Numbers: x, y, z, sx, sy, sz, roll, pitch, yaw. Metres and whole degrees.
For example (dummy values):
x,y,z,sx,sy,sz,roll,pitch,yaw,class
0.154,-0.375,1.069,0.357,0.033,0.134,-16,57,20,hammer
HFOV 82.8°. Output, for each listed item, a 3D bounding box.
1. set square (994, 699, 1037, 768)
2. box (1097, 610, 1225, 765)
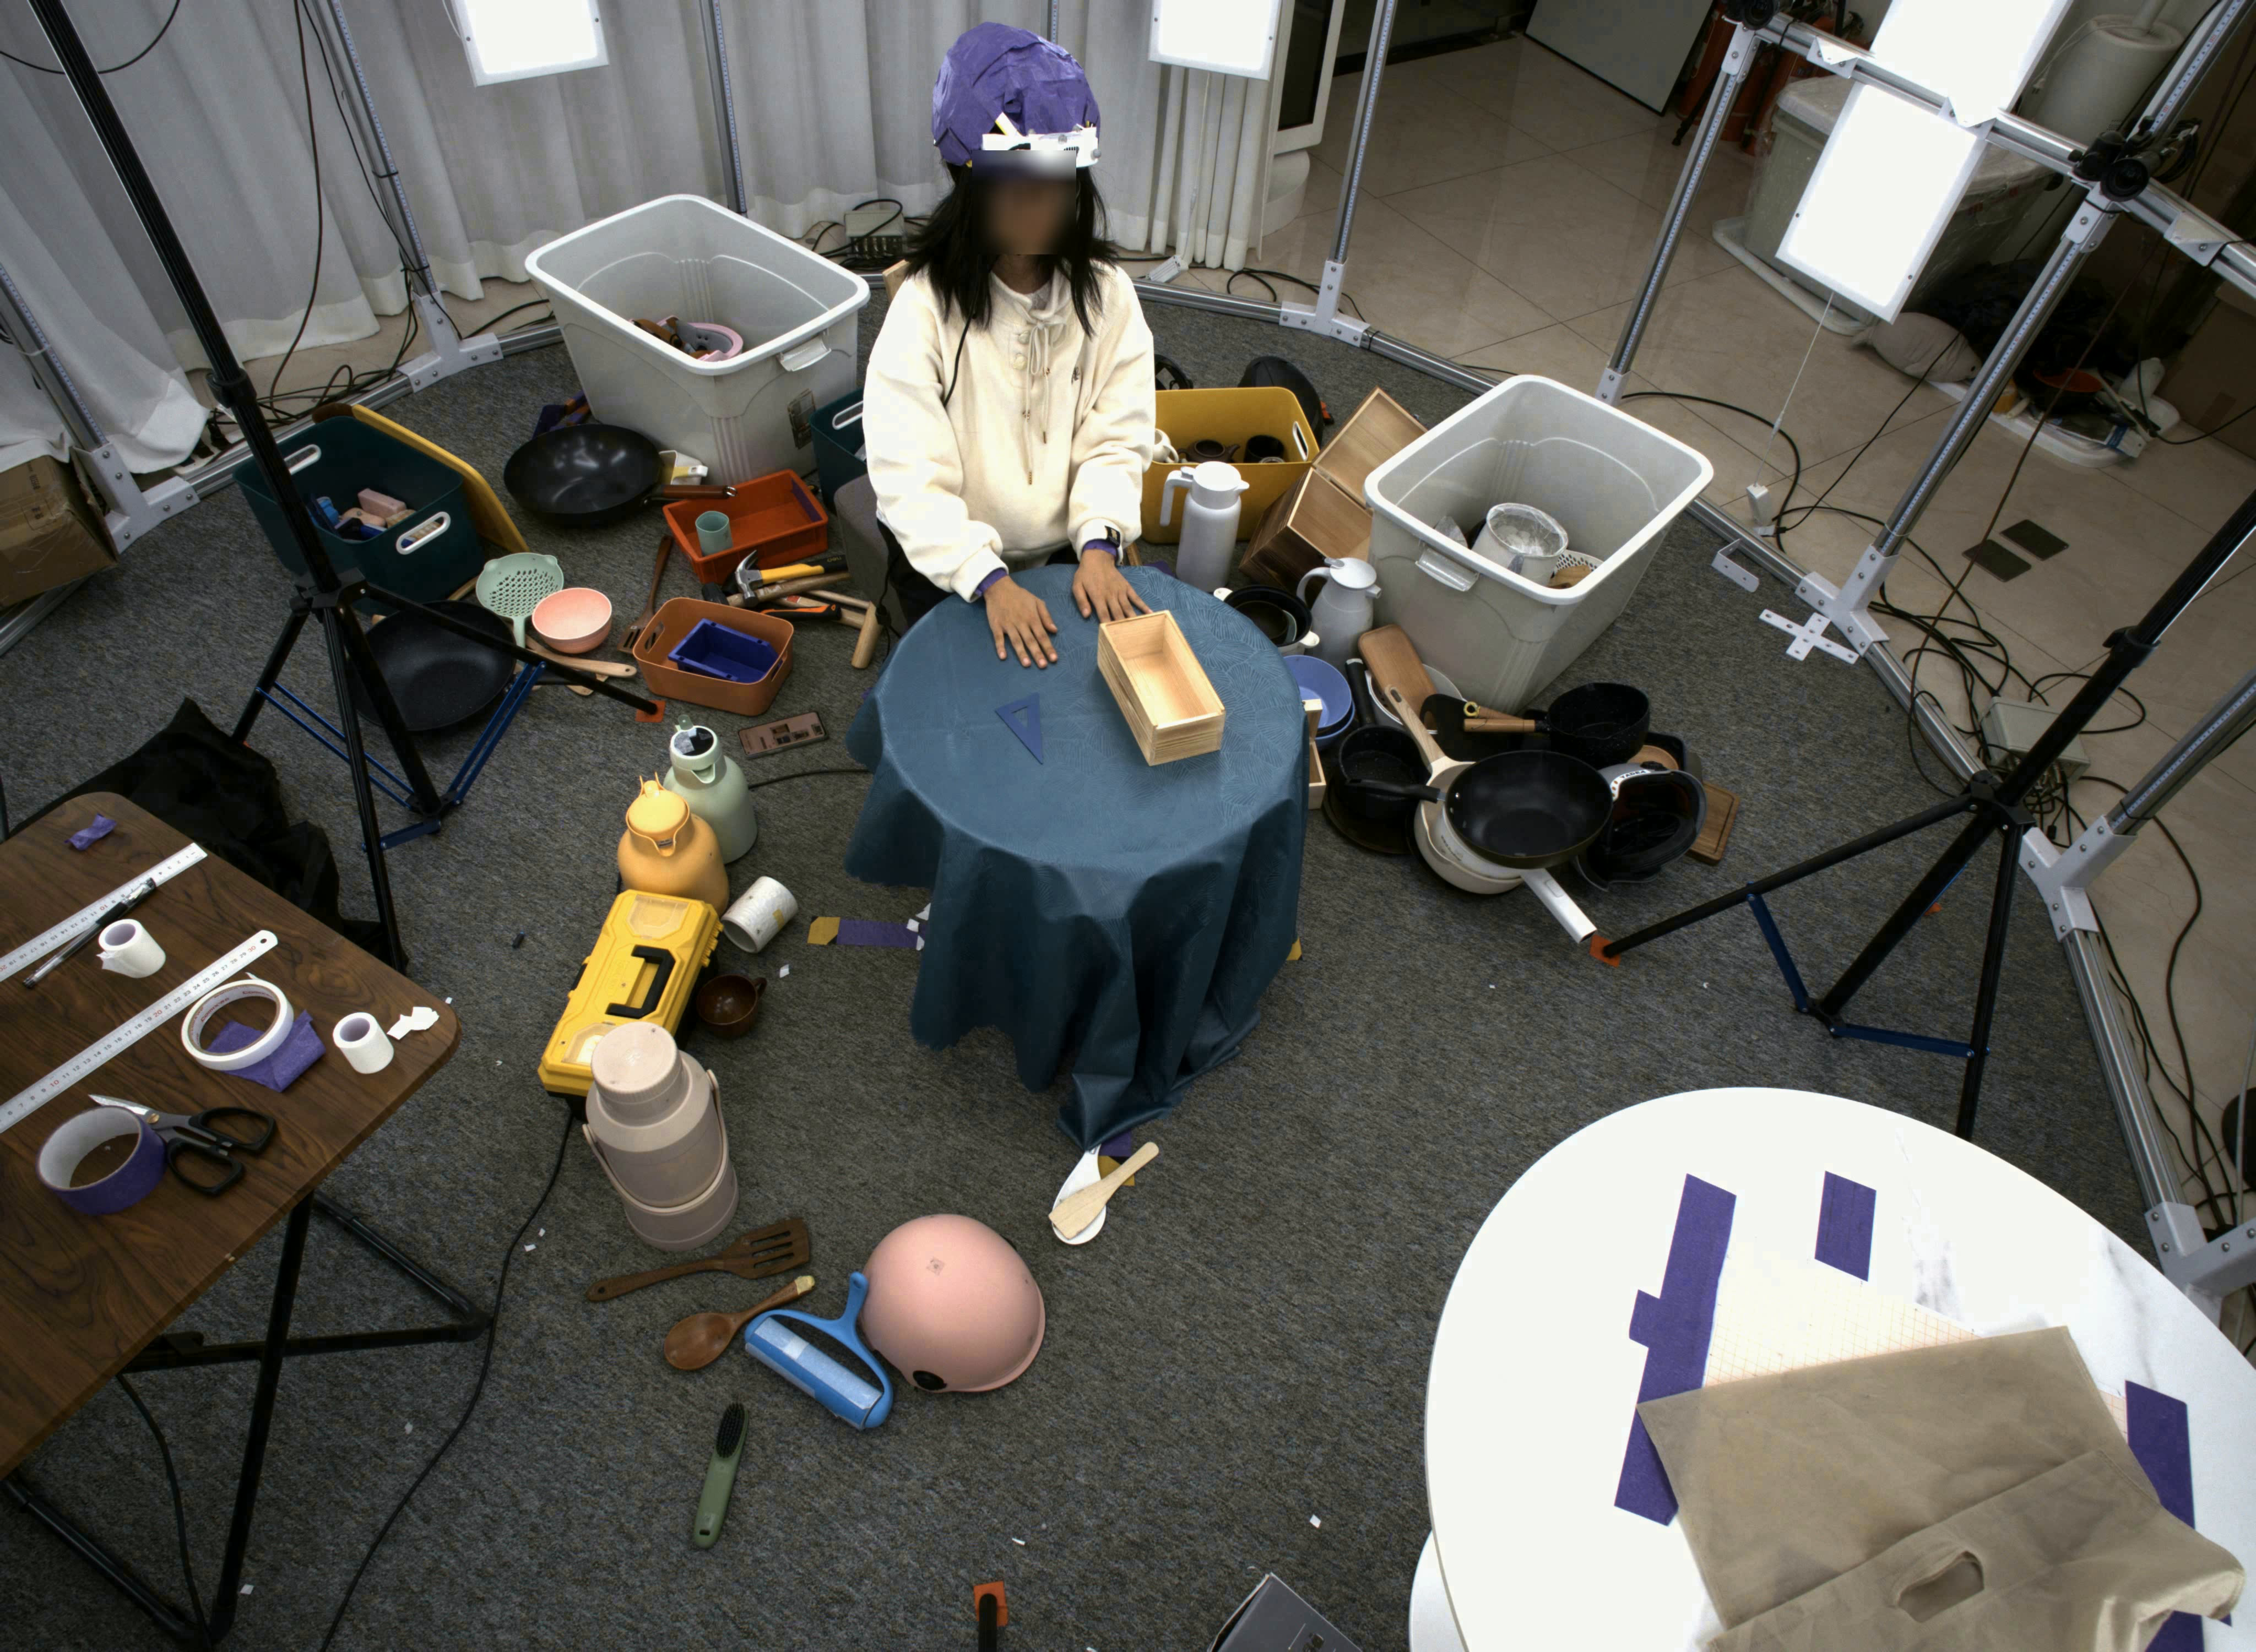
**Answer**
x,y,z,sx,sy,sz,roll,pitch,yaw,class
-0.156,-0.131,1.770,0.061,0.006,0.135,2,49,-3,set square
0.042,-0.197,1.792,0.107,0.078,0.216,-13,52,-16,box
